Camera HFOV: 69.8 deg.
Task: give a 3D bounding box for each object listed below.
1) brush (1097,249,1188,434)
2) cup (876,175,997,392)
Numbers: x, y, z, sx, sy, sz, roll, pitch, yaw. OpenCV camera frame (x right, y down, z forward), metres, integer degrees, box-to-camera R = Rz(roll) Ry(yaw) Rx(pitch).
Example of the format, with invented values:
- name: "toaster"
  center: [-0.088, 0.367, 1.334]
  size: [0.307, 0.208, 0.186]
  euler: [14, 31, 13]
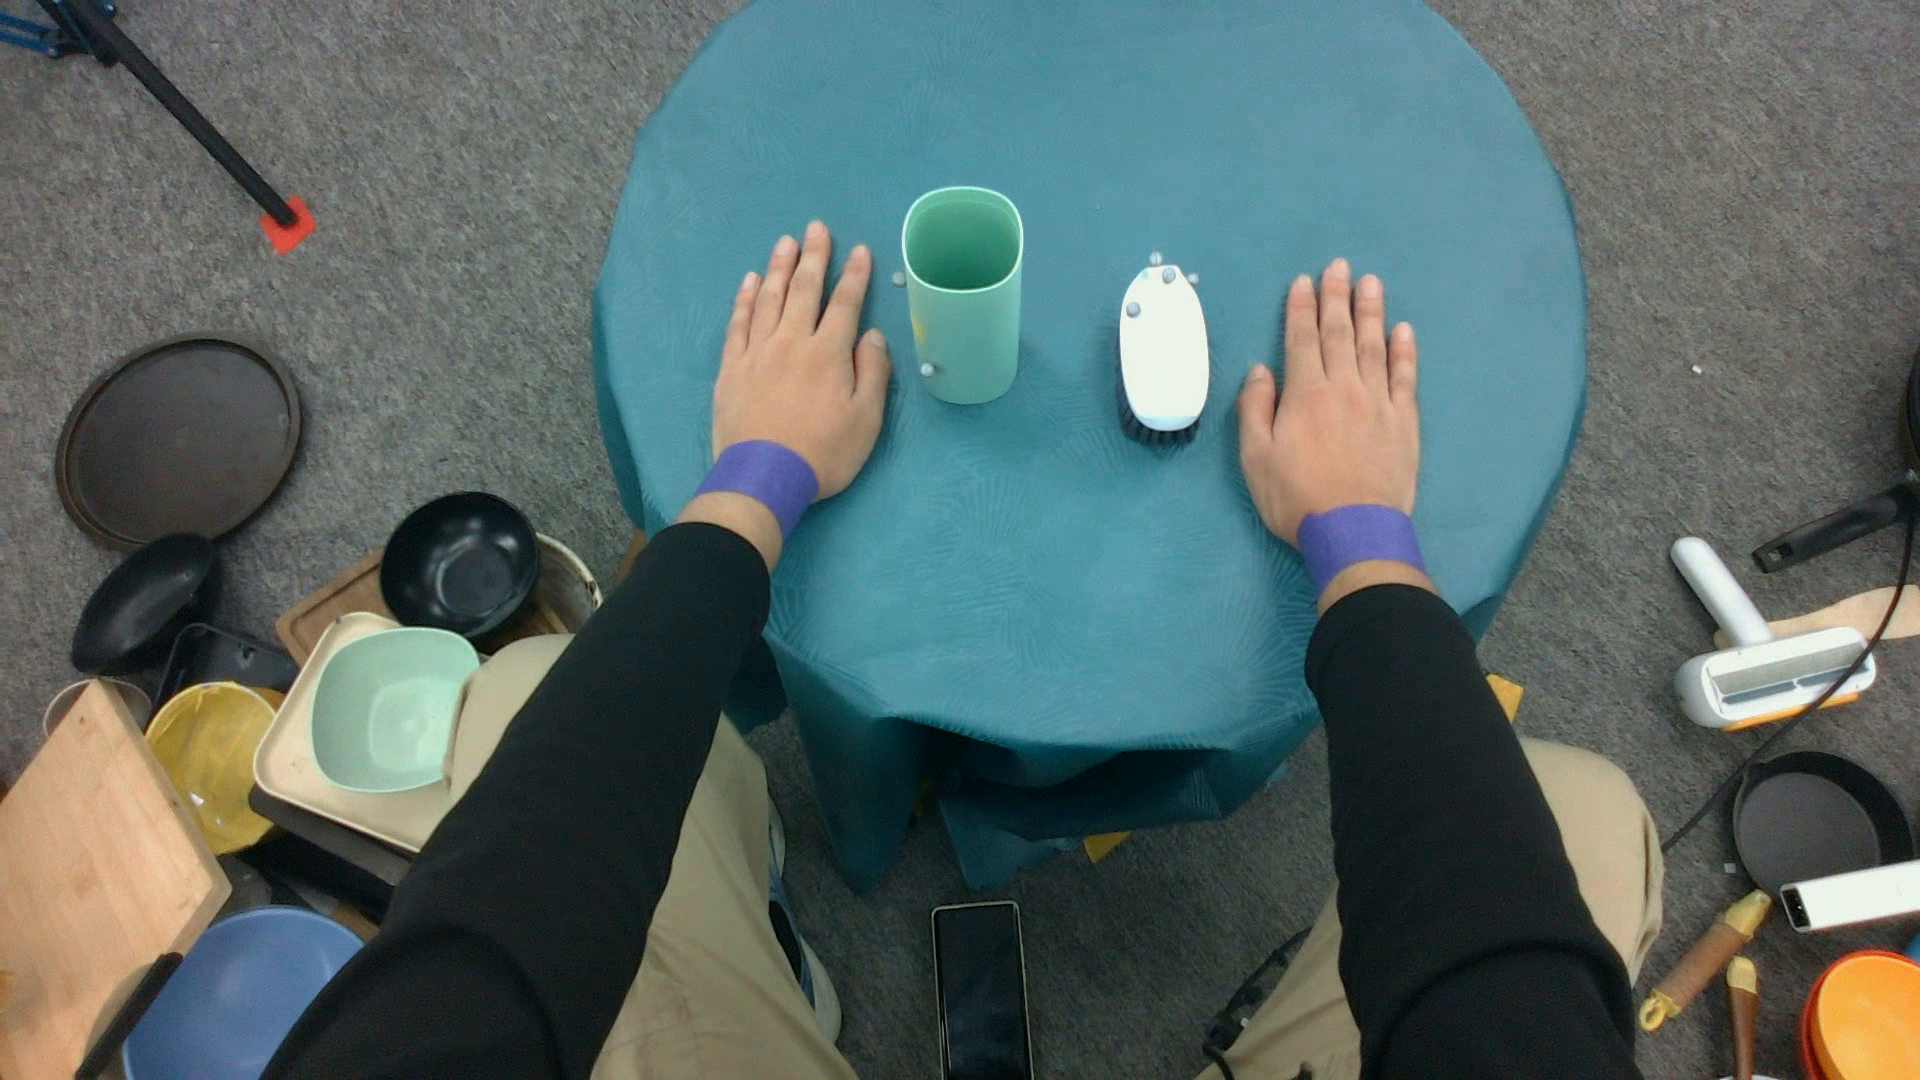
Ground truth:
- name: "brush"
  center: [0.106, -0.120, 0.786]
  size: [0.050, 0.072, 0.099]
  euler: [0, 69, 2]
- name: "cup"
  center: [-0.010, -0.139, 0.767]
  size: [0.067, 0.132, 0.067]
  euler: [0, 70, 0]
